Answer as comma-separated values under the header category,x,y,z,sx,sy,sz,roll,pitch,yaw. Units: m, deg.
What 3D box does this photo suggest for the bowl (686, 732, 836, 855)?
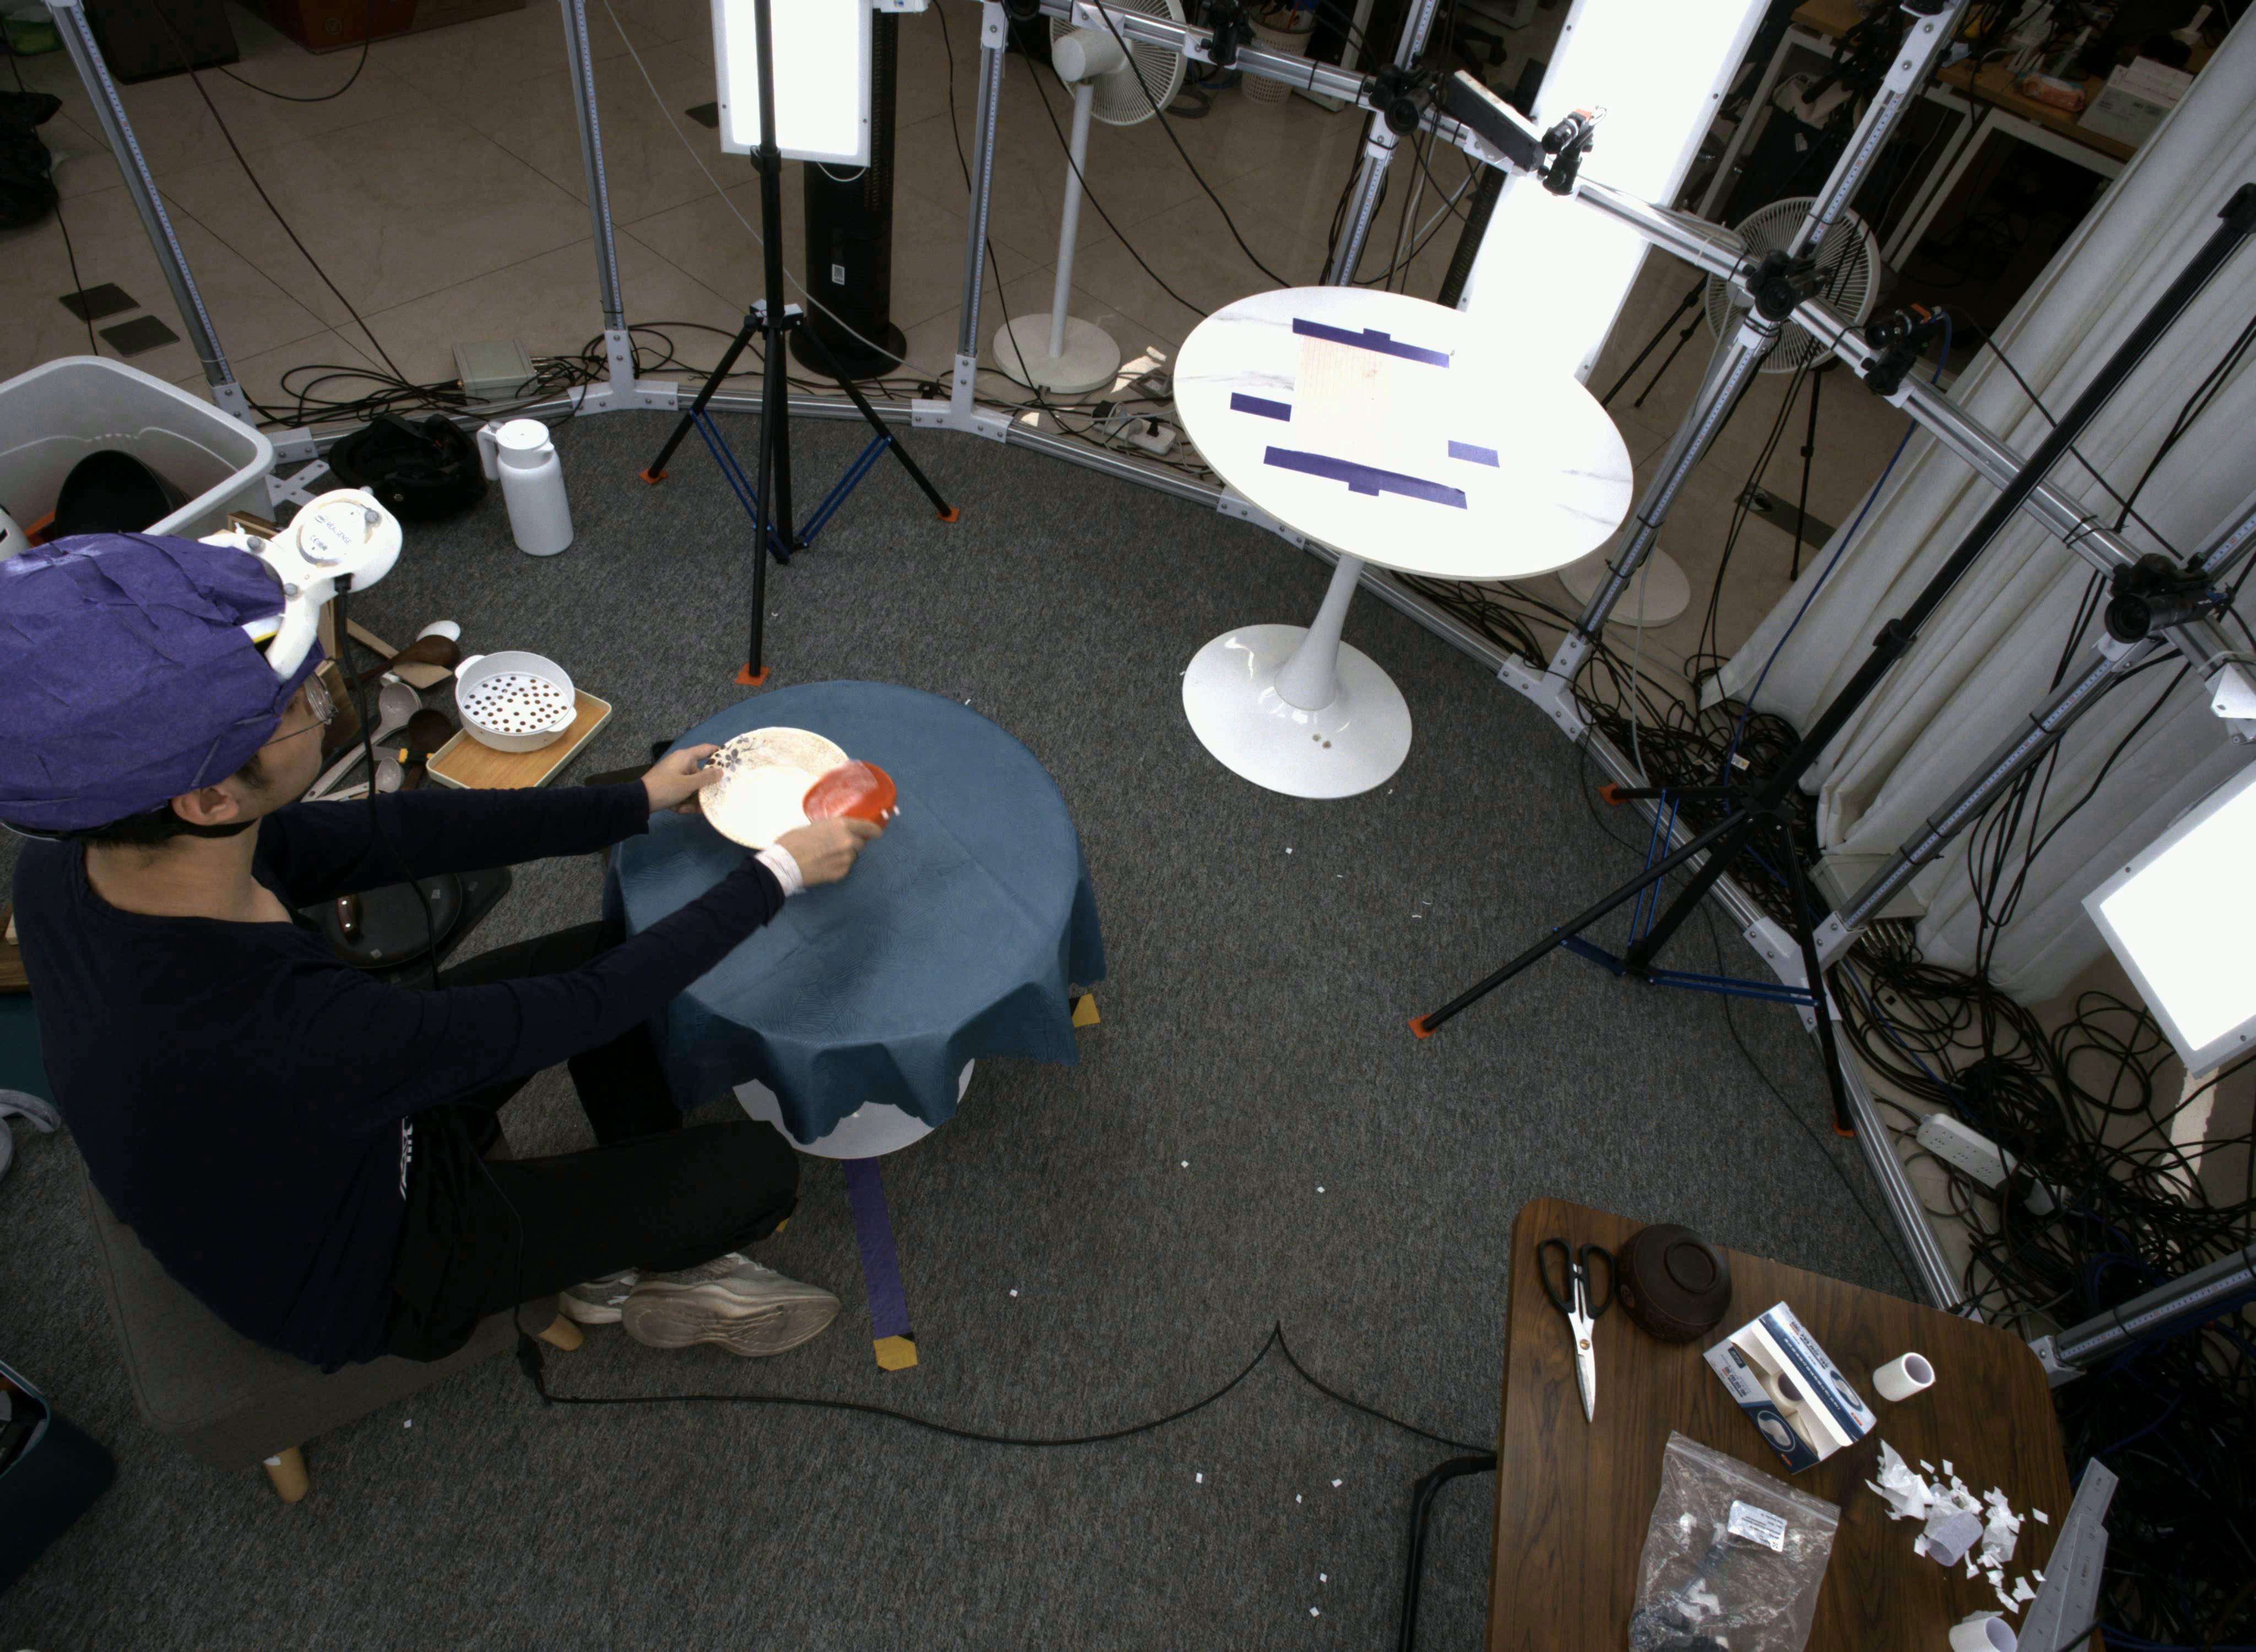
category,x,y,z,sx,sy,sz,roll,pitch,yaw
bowl,-0.468,-0.024,1.693,0.203,0.080,0.200,6,53,-6

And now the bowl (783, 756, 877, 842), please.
category,x,y,z,sx,sy,sz,roll,pitch,yaw
bowl,-0.360,-0.027,1.597,0.117,0.053,0.116,-5,48,7
